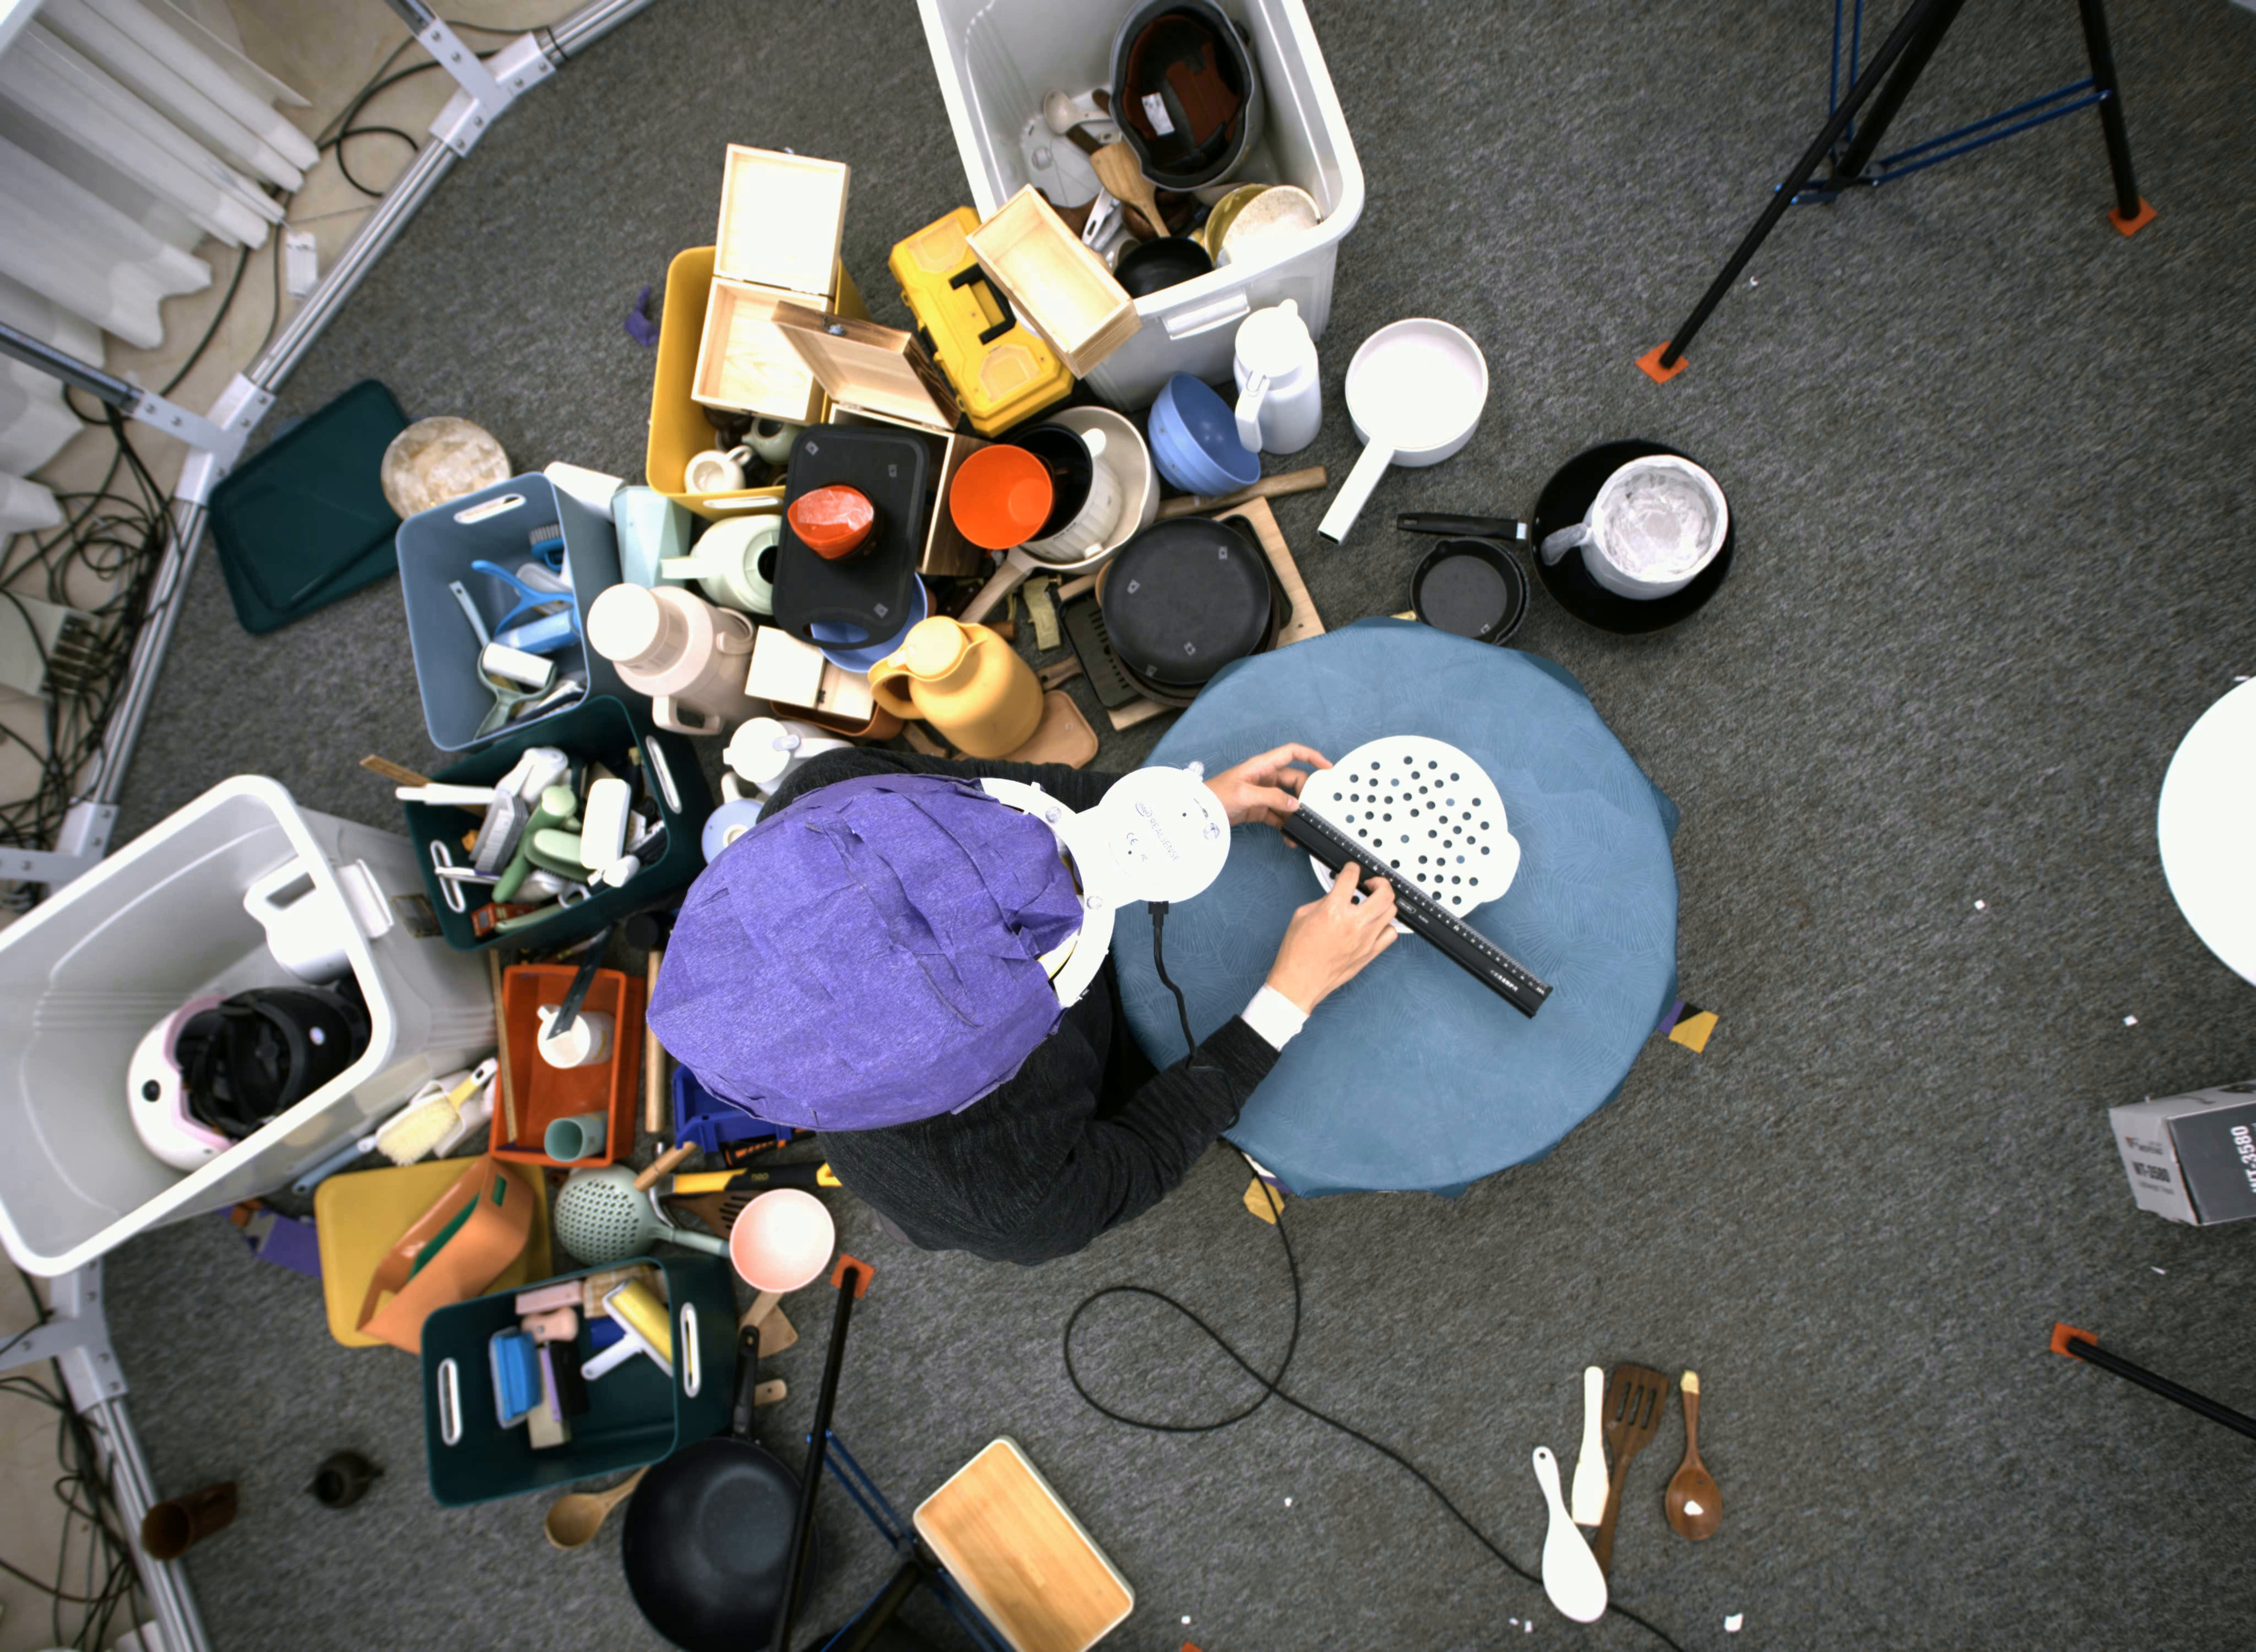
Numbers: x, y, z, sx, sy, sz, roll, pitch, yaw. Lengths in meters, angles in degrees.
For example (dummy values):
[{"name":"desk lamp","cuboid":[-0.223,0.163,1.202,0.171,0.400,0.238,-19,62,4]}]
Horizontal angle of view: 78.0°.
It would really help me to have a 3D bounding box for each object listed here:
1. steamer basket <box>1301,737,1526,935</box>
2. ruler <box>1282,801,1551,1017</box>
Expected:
[{"name":"steamer basket","cuboid":[0.292,0.010,1.424,0.230,0.069,0.202,21,91,9]},{"name":"ruler","cuboid":[0.287,0.079,1.380,0.311,0.017,0.039,38,95,10]}]
